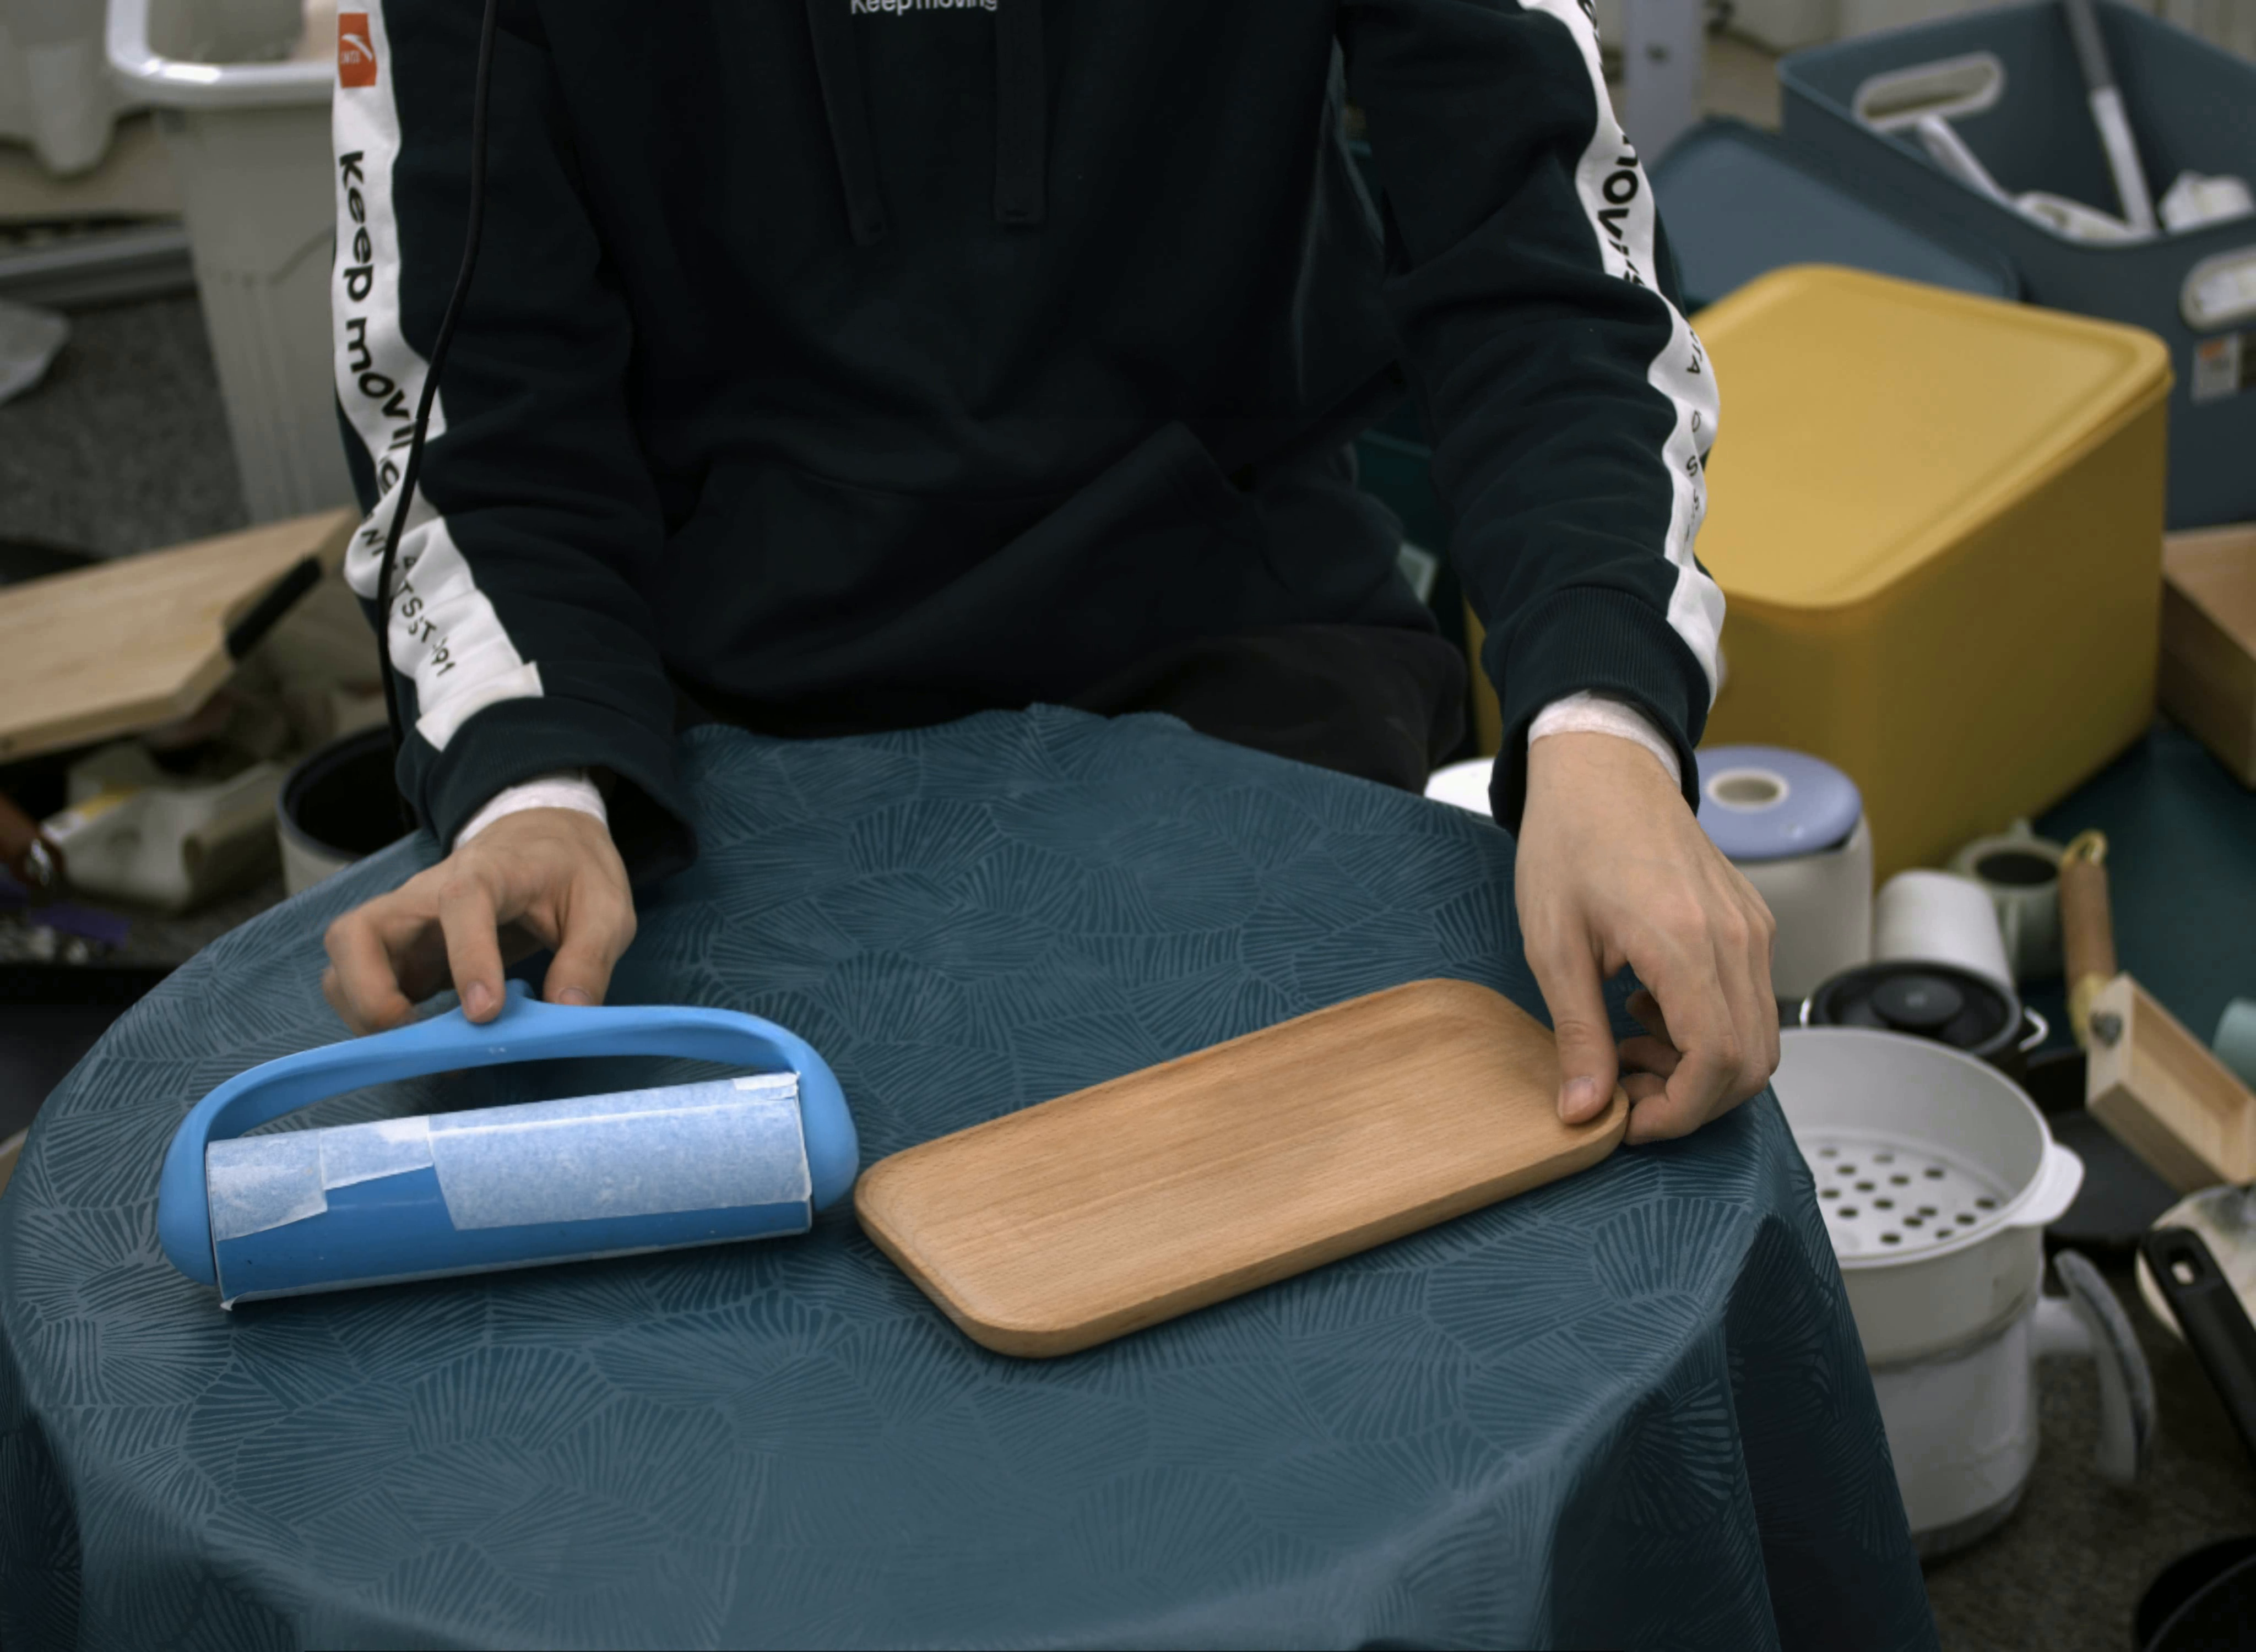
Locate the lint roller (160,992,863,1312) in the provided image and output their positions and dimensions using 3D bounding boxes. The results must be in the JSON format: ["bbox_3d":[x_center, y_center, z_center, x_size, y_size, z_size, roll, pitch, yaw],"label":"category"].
[{"bbox_3d":[-0.211,0.091,1.879,0.228,0.067,0.182,-9,28,-8],"label":"lint roller"}]

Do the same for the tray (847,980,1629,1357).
[{"bbox_3d":[0.037,0.112,1.857,0.252,0.022,0.131,-17,28,-24],"label":"tray"}]
